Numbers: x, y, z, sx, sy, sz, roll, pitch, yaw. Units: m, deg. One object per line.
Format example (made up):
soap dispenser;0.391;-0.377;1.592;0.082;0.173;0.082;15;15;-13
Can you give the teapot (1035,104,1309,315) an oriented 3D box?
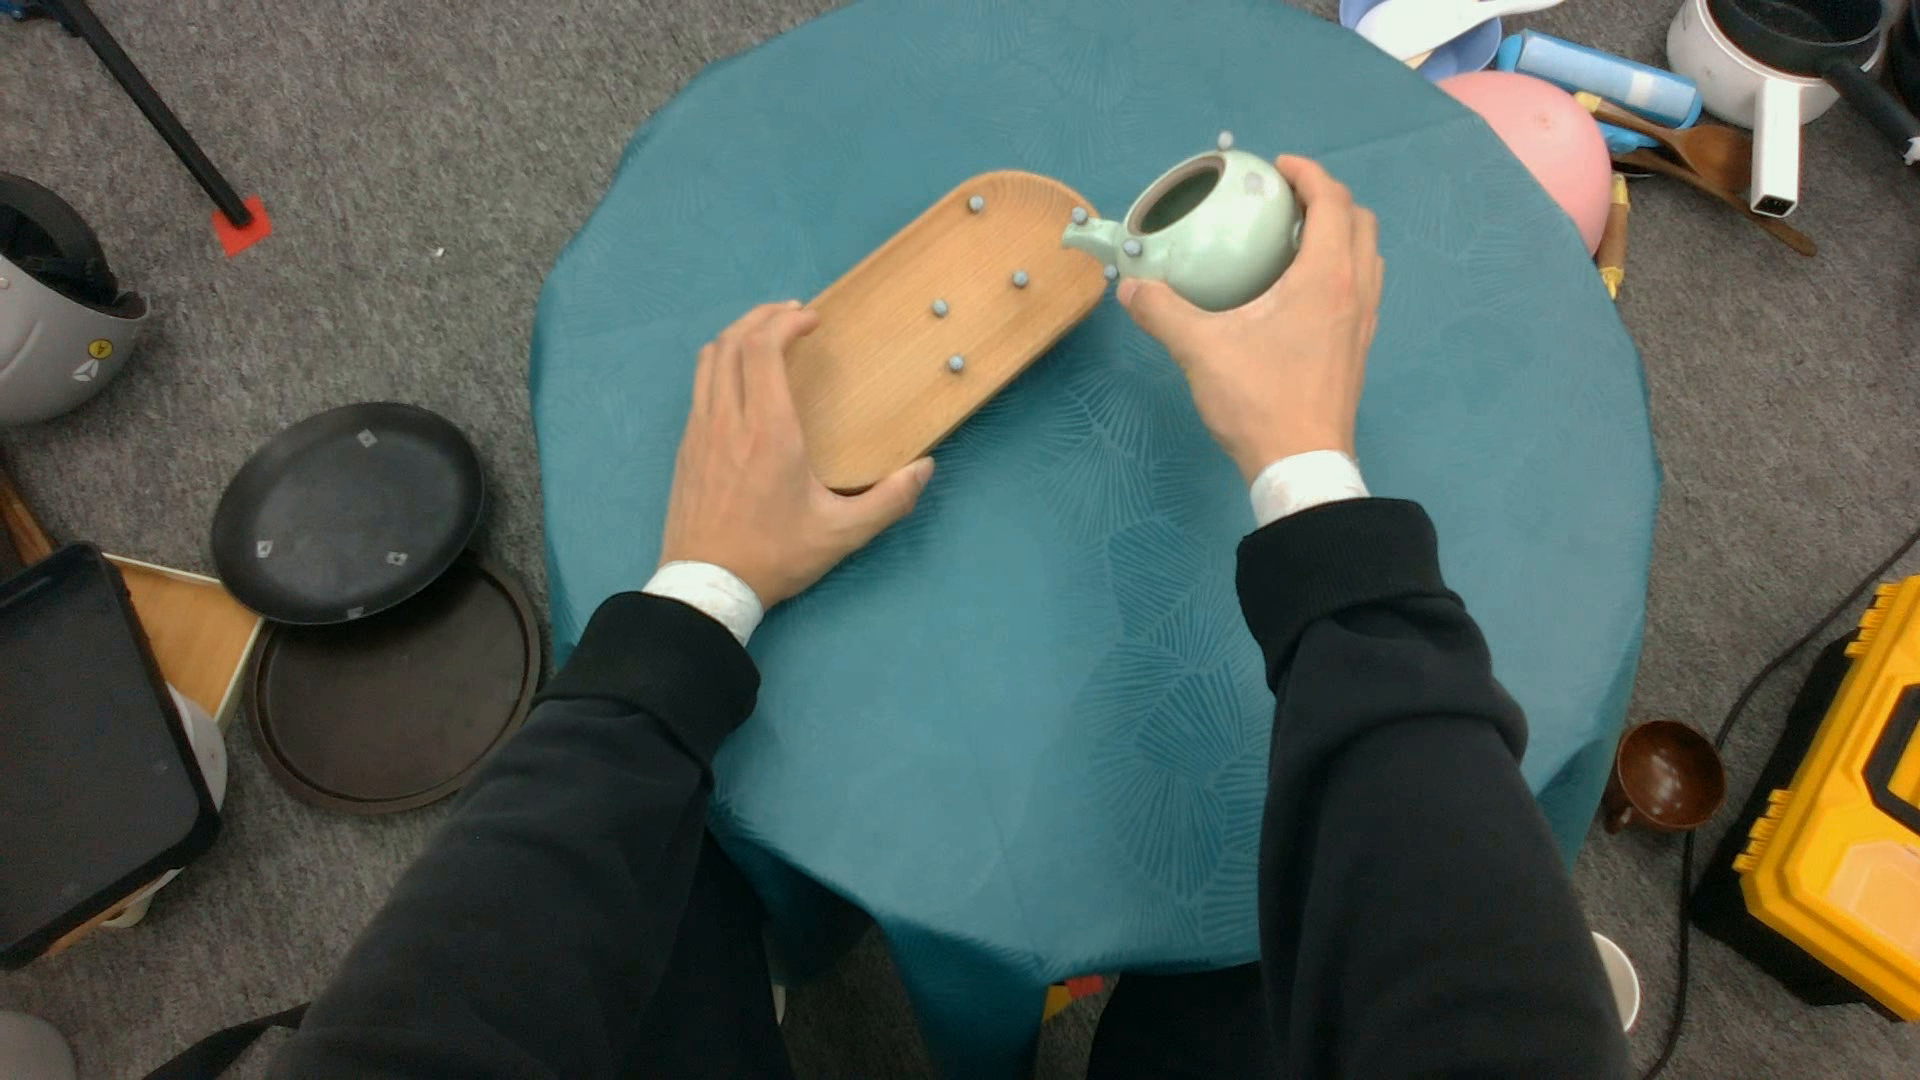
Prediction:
teapot;0.106;-0.150;0.648;0.074;0.143;0.089;43;56;-26

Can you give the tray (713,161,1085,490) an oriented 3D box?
tray;-0.028;-0.114;0.715;0.102;0.020;0.232;42;71;12
